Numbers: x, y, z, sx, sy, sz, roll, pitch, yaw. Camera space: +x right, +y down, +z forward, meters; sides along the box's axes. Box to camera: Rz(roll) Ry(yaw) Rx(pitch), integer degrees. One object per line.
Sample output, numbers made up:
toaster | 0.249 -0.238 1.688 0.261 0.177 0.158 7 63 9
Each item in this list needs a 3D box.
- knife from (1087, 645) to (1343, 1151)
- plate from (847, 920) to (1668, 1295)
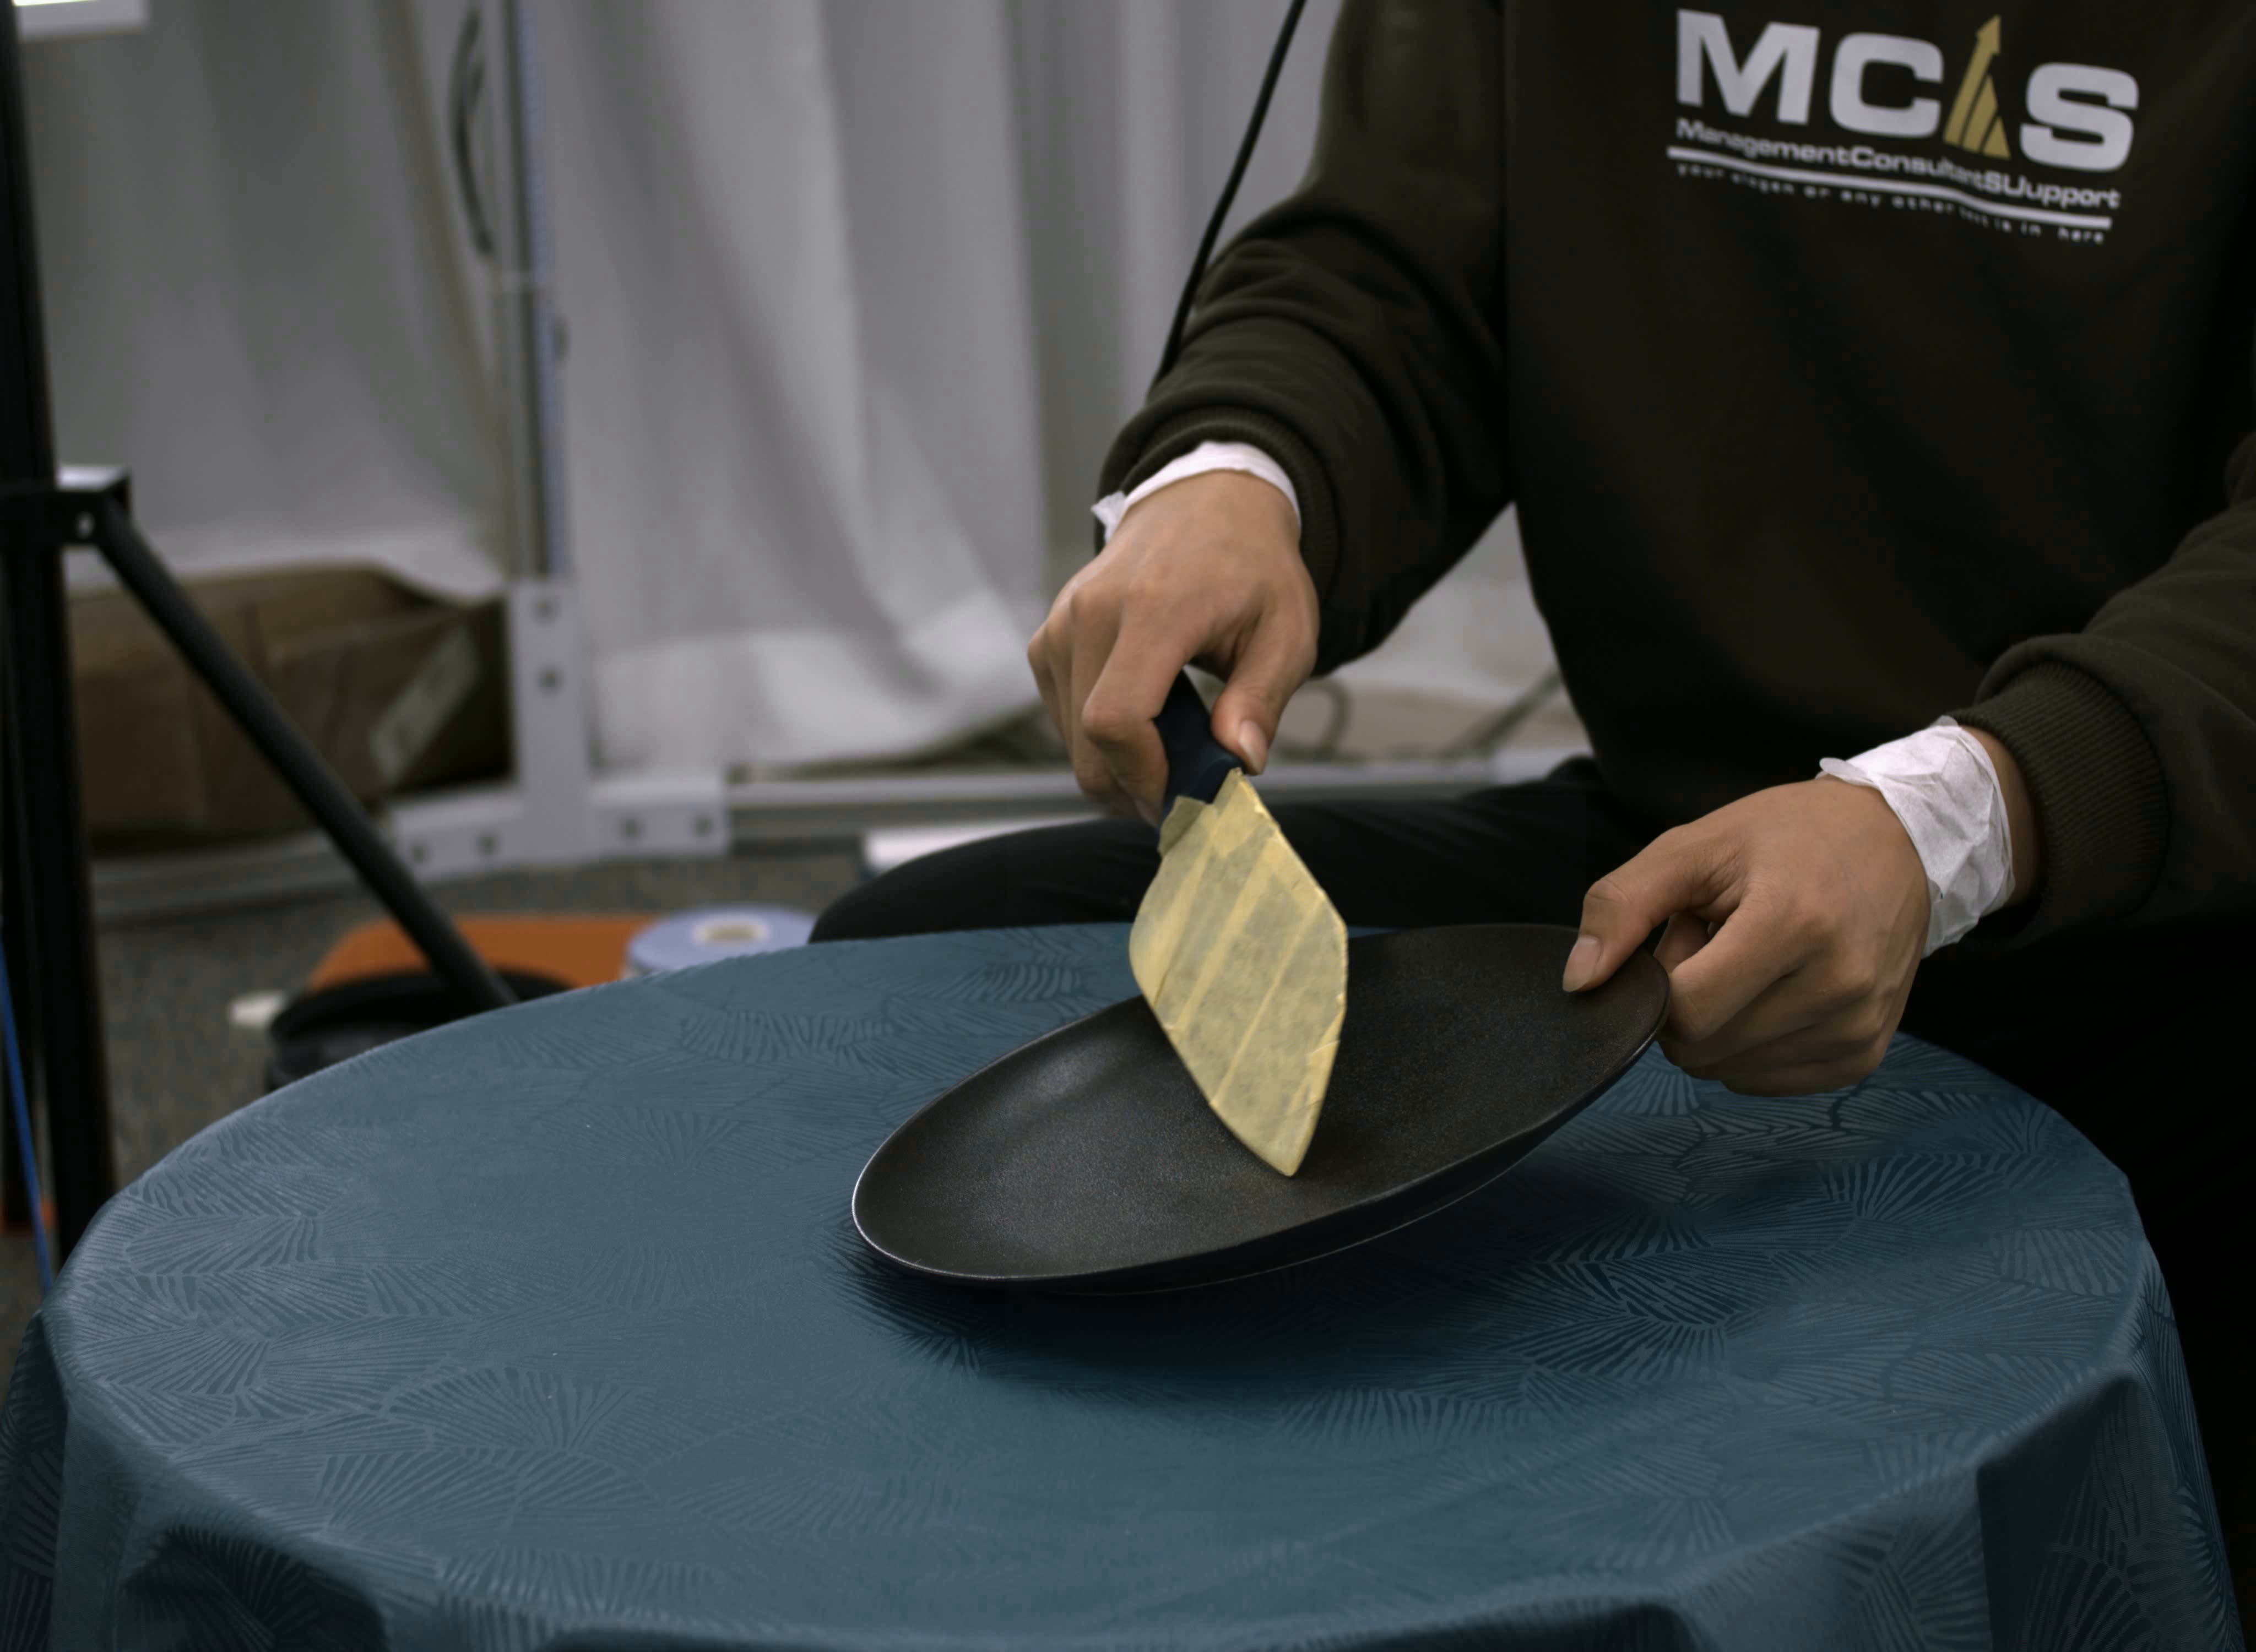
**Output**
knife | 0.021 0.017 1.599 0.027 0.081 0.293 23 18 -21
plate | 0.039 0.085 1.518 0.244 0.023 0.245 -17 16 3
